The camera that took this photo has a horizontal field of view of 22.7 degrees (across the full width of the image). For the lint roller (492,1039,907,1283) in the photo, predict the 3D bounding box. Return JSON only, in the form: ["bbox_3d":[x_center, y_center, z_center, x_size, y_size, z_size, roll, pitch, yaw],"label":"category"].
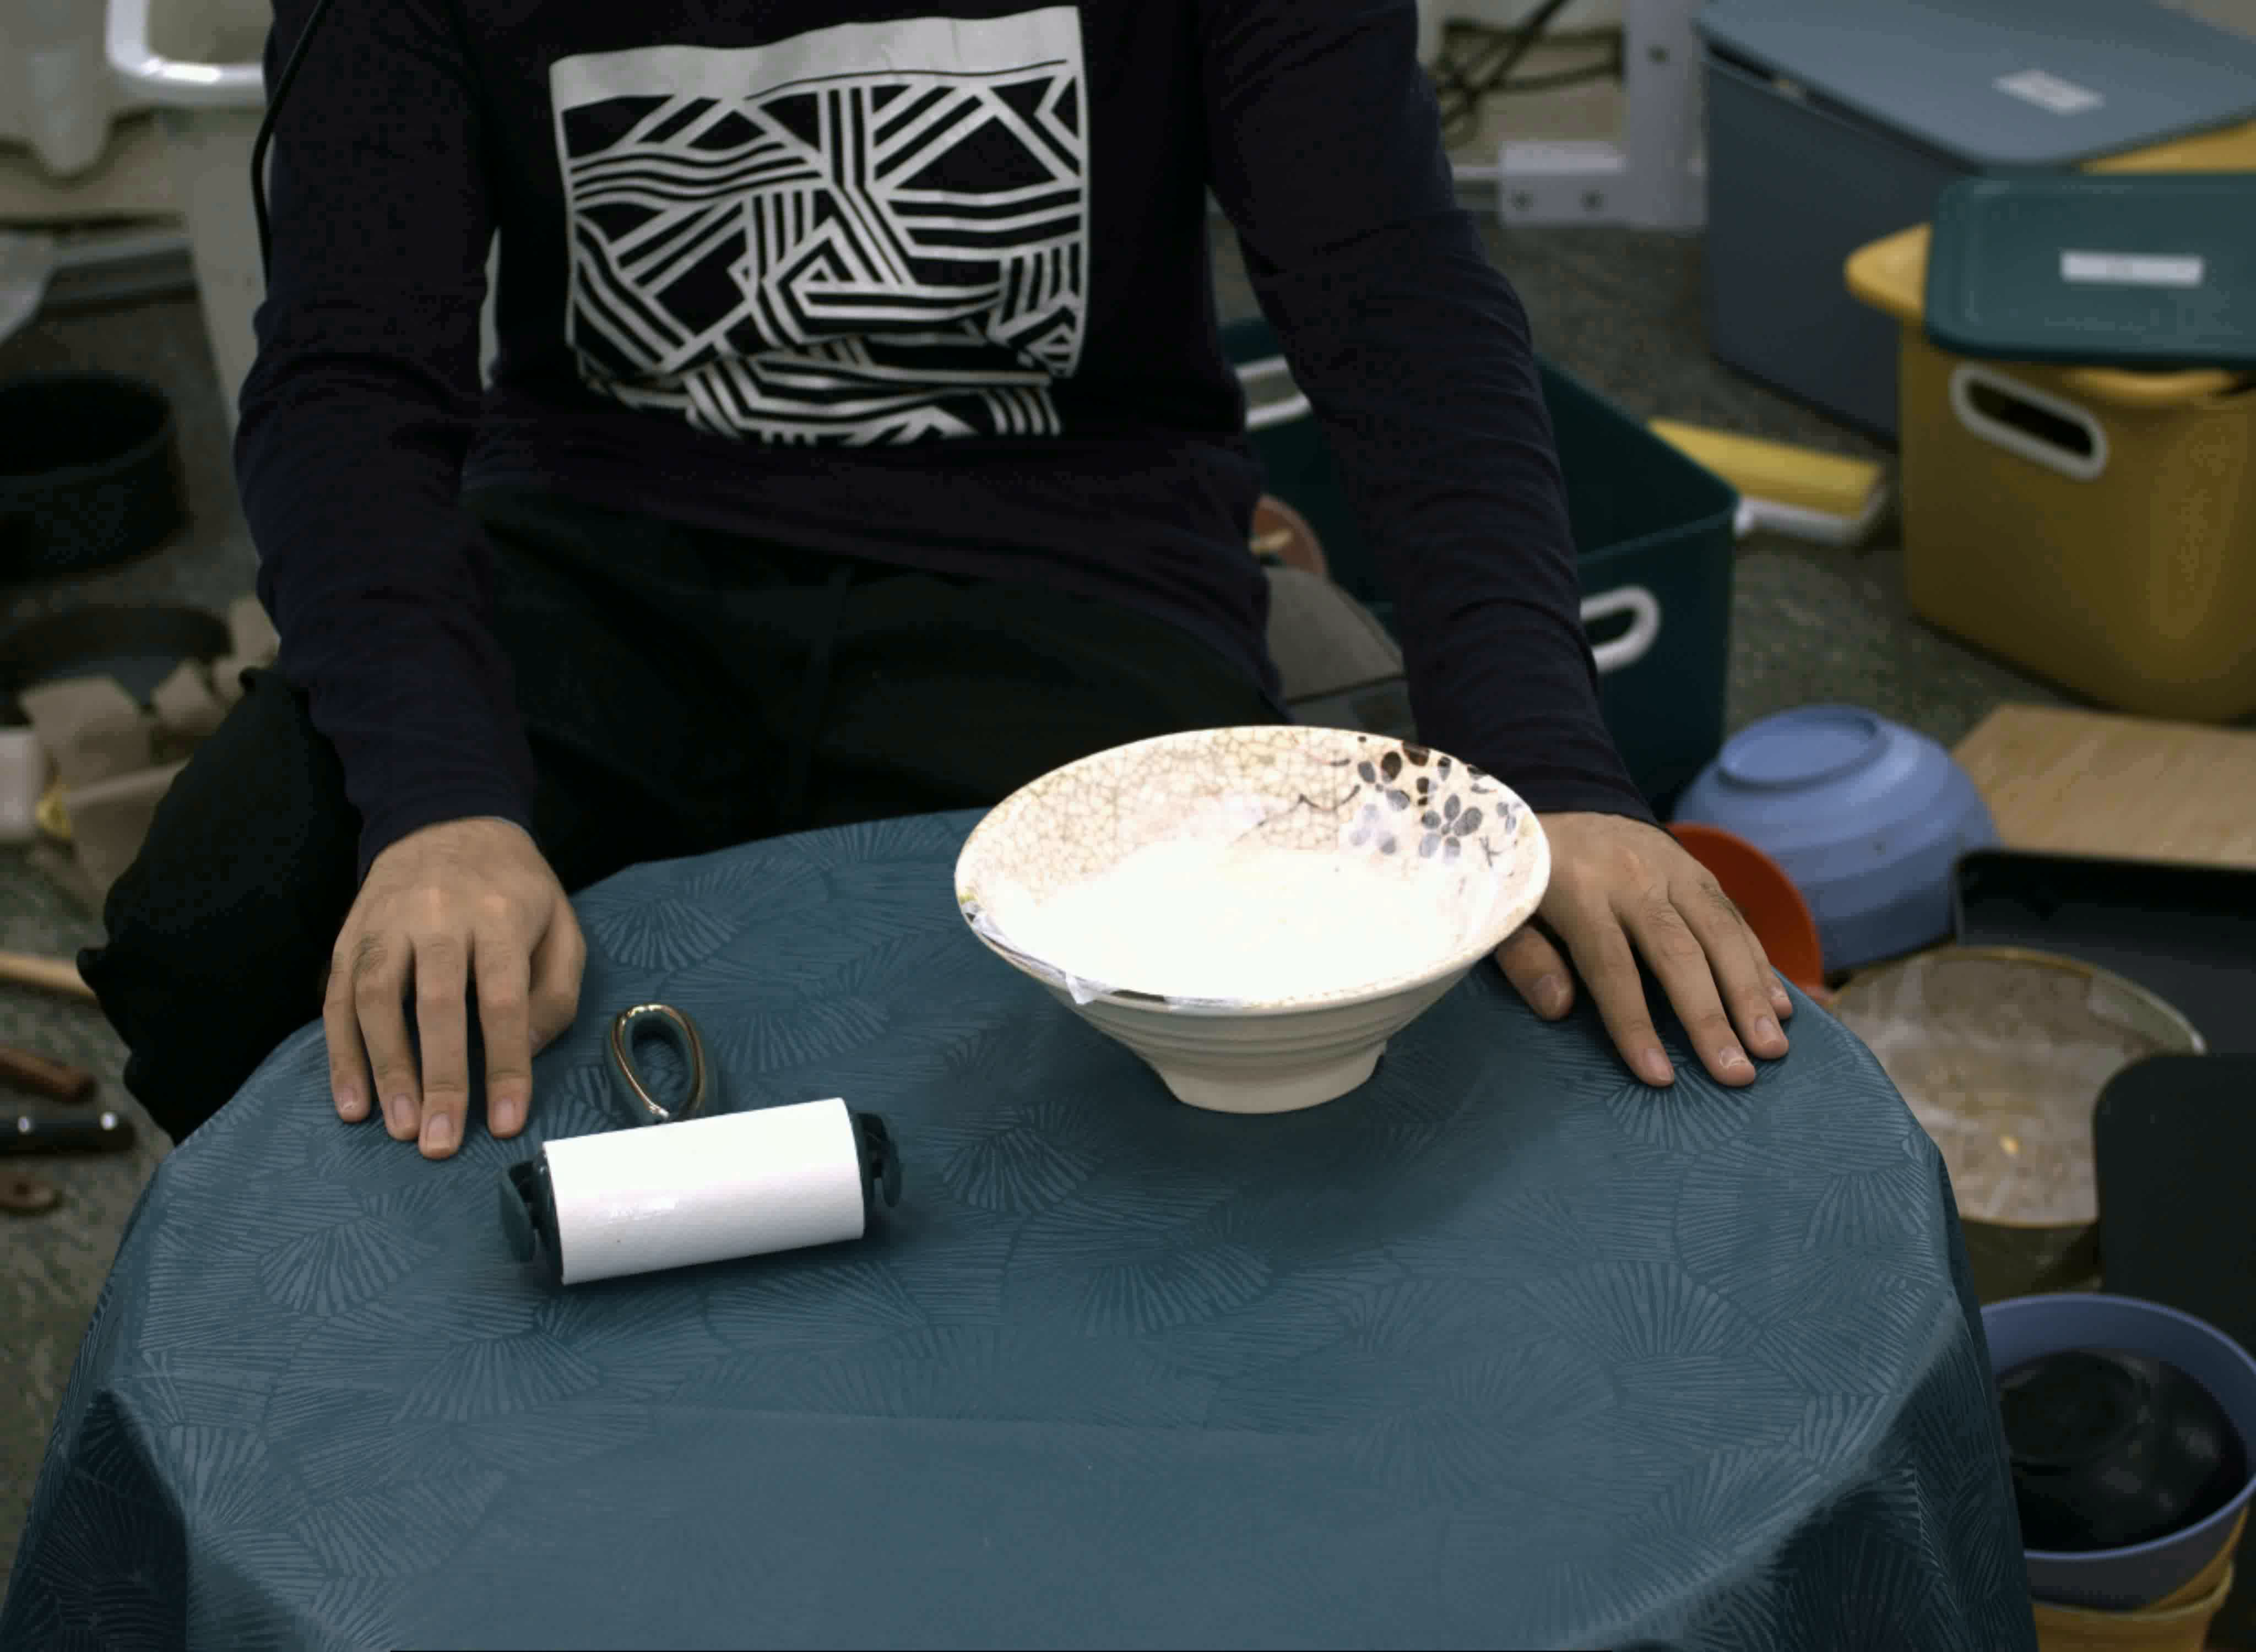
[{"bbox_3d":[-0.154,0.093,1.889,0.134,0.048,0.182,-8,24,-10],"label":"lint roller"}]

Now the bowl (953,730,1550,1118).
[{"bbox_3d":[0.043,0.045,1.923,0.203,0.077,0.207,-1,26,1],"label":"bowl"}]
